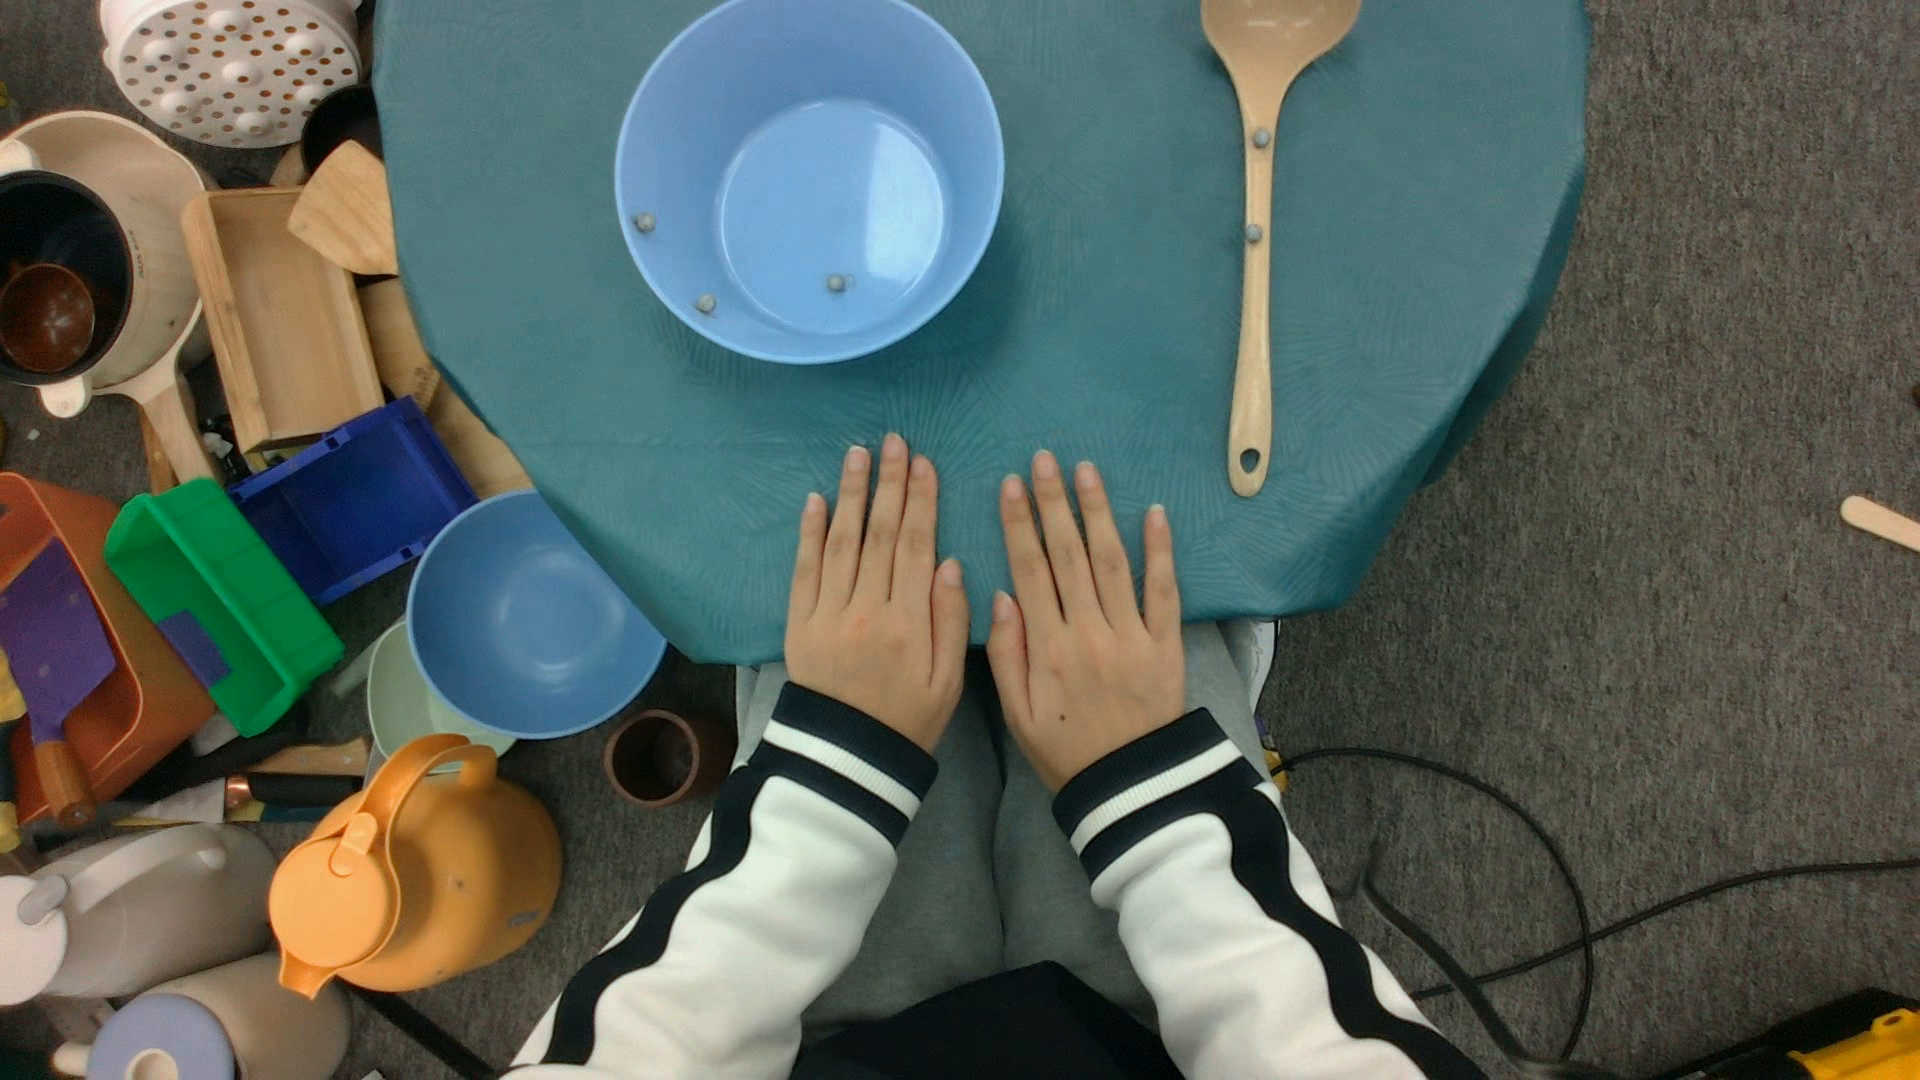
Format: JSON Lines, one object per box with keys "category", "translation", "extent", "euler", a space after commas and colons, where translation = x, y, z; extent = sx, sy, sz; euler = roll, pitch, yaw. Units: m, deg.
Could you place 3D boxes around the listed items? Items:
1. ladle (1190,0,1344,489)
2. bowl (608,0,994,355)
{"category": "ladle", "translation": [0.141, -0.154, 0.628], "extent": [0.072, 0.072, 0.254], "euler": [2, 84, -5]}
{"category": "bowl", "translation": [-0.069, -0.165, 0.646], "extent": [0.176, 0.070, 0.176], "euler": [-1, 83, 5]}
